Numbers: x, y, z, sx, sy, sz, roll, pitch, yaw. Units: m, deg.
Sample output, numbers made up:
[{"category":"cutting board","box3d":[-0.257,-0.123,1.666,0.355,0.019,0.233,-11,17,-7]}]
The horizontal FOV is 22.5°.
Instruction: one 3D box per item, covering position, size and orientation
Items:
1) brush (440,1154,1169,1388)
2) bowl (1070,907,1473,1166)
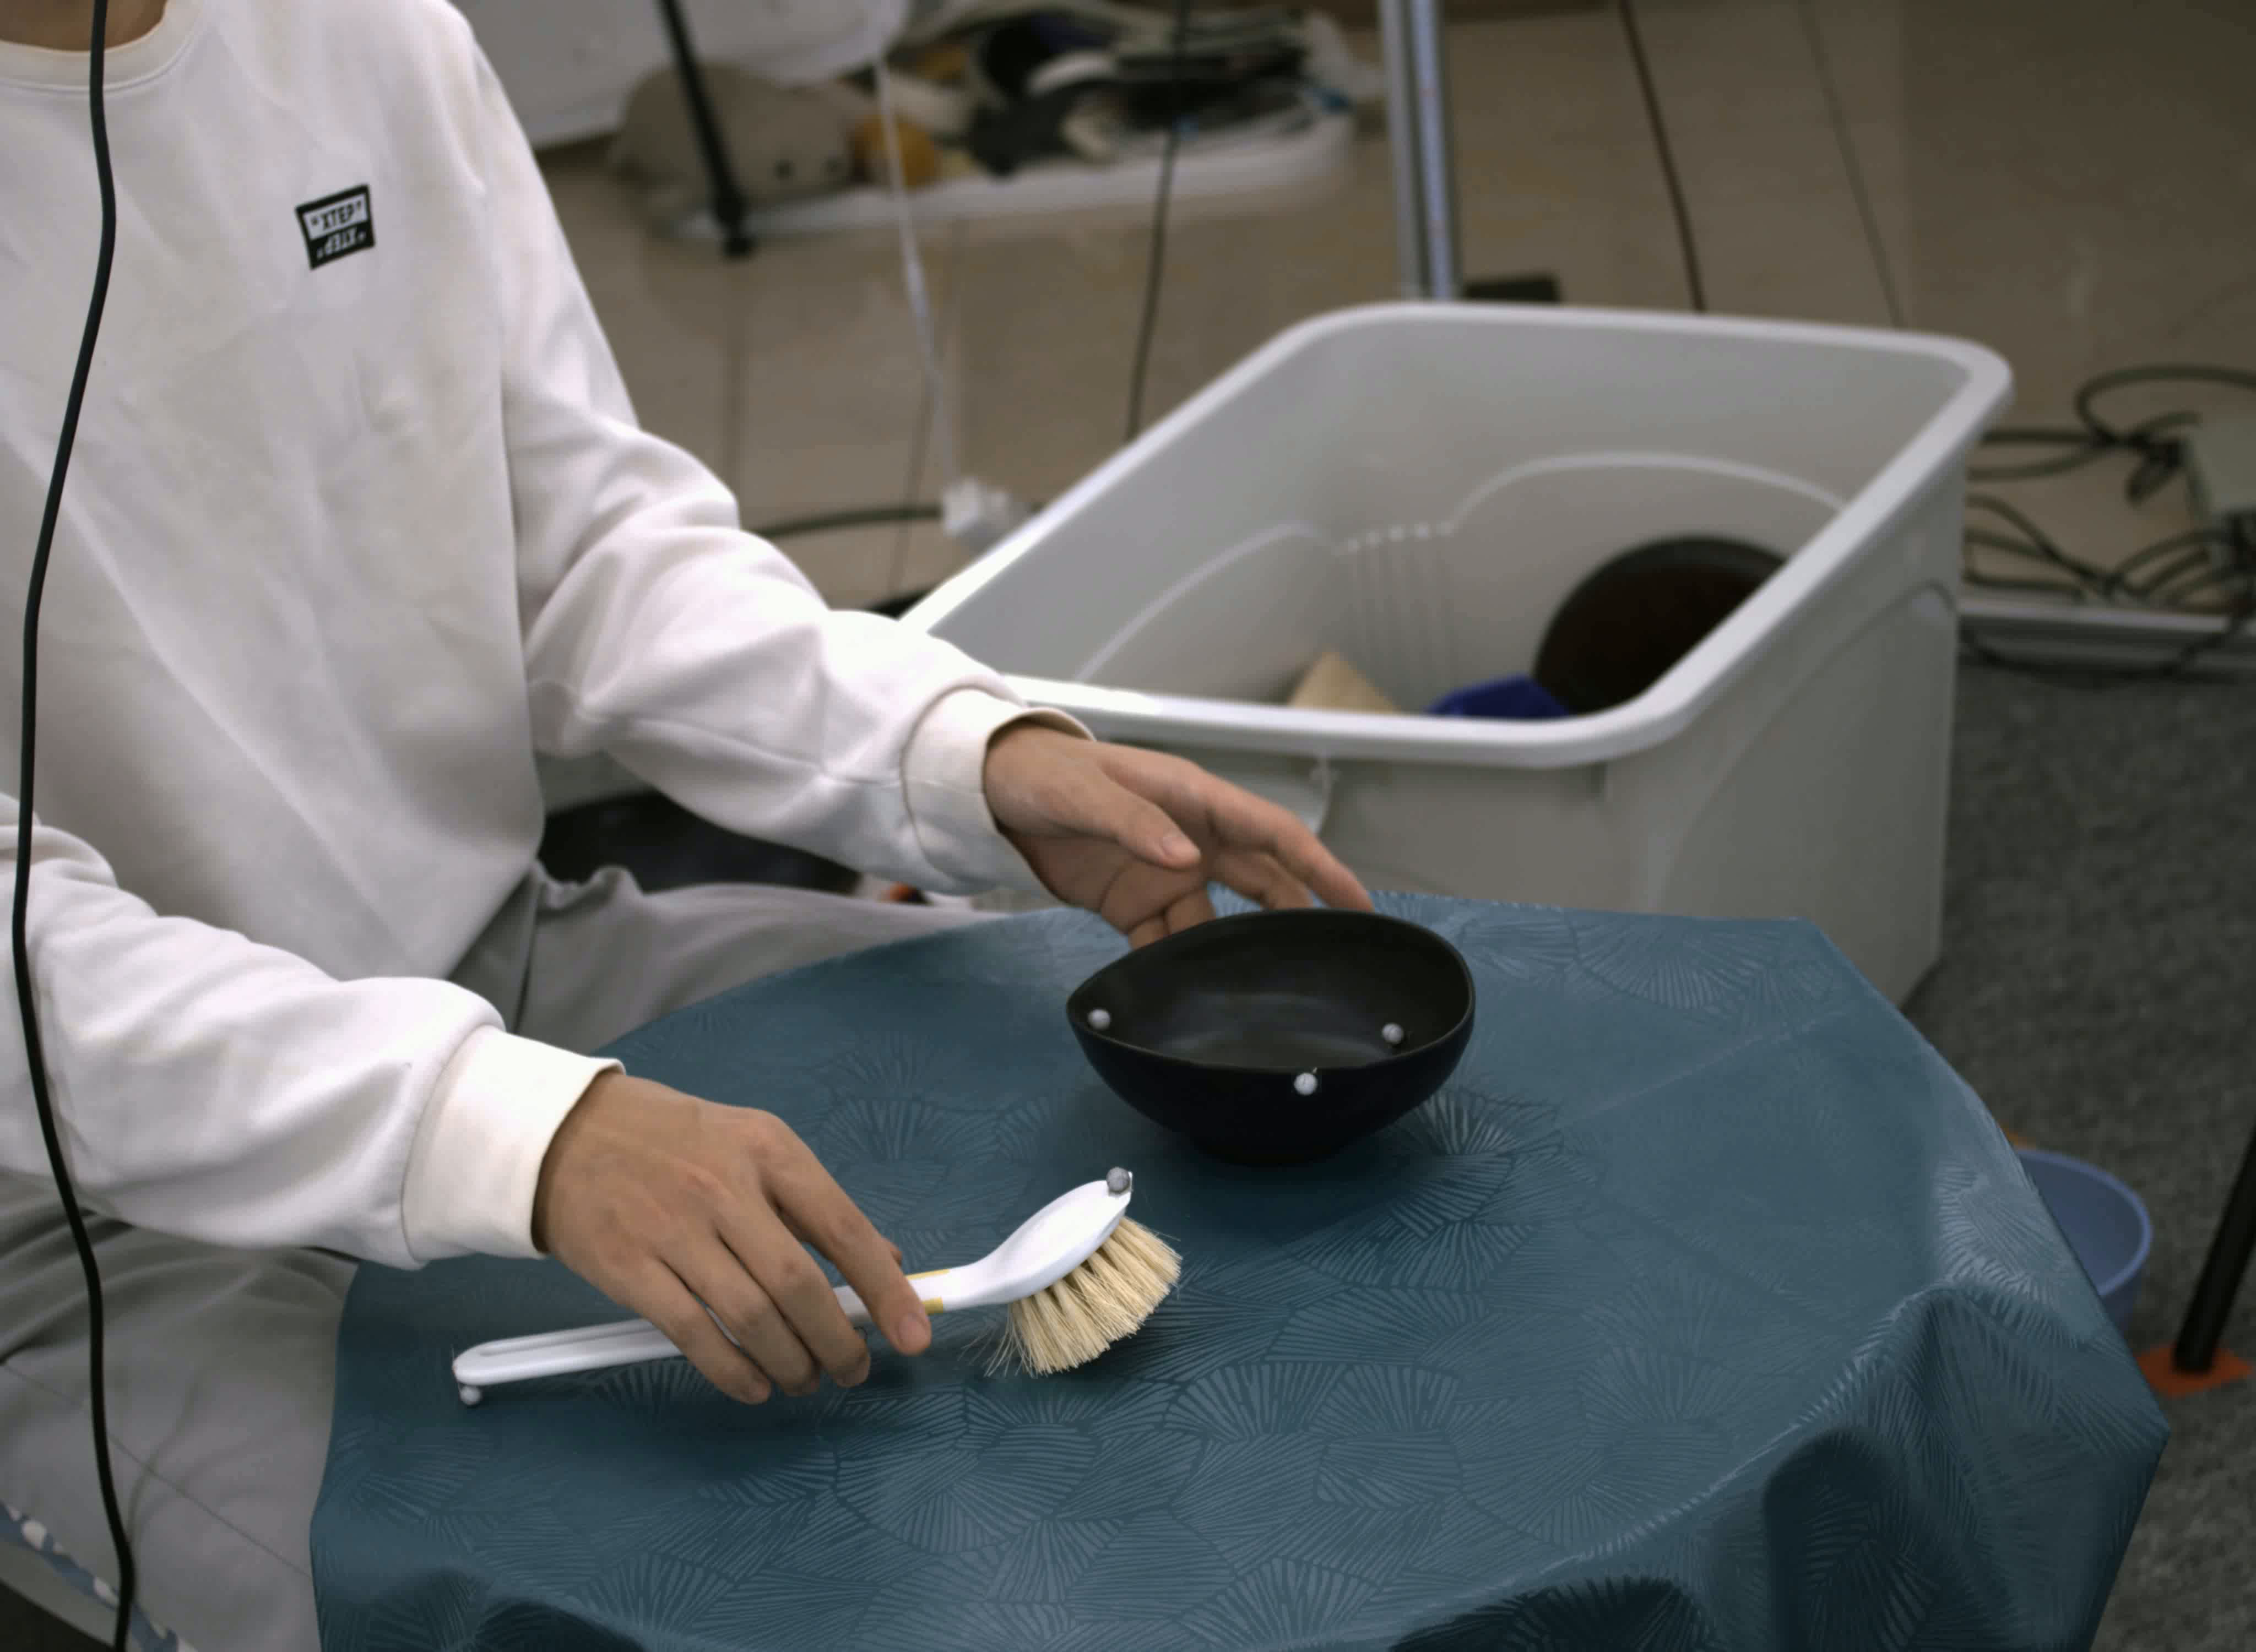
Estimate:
[{"category":"brush","box3d":[-0.114,0.182,2.050,0.266,0.056,0.068,-17,11,3]},{"category":"bowl","box3d":[0.056,0.088,2.168,0.169,0.068,0.136,8,29,36]}]
